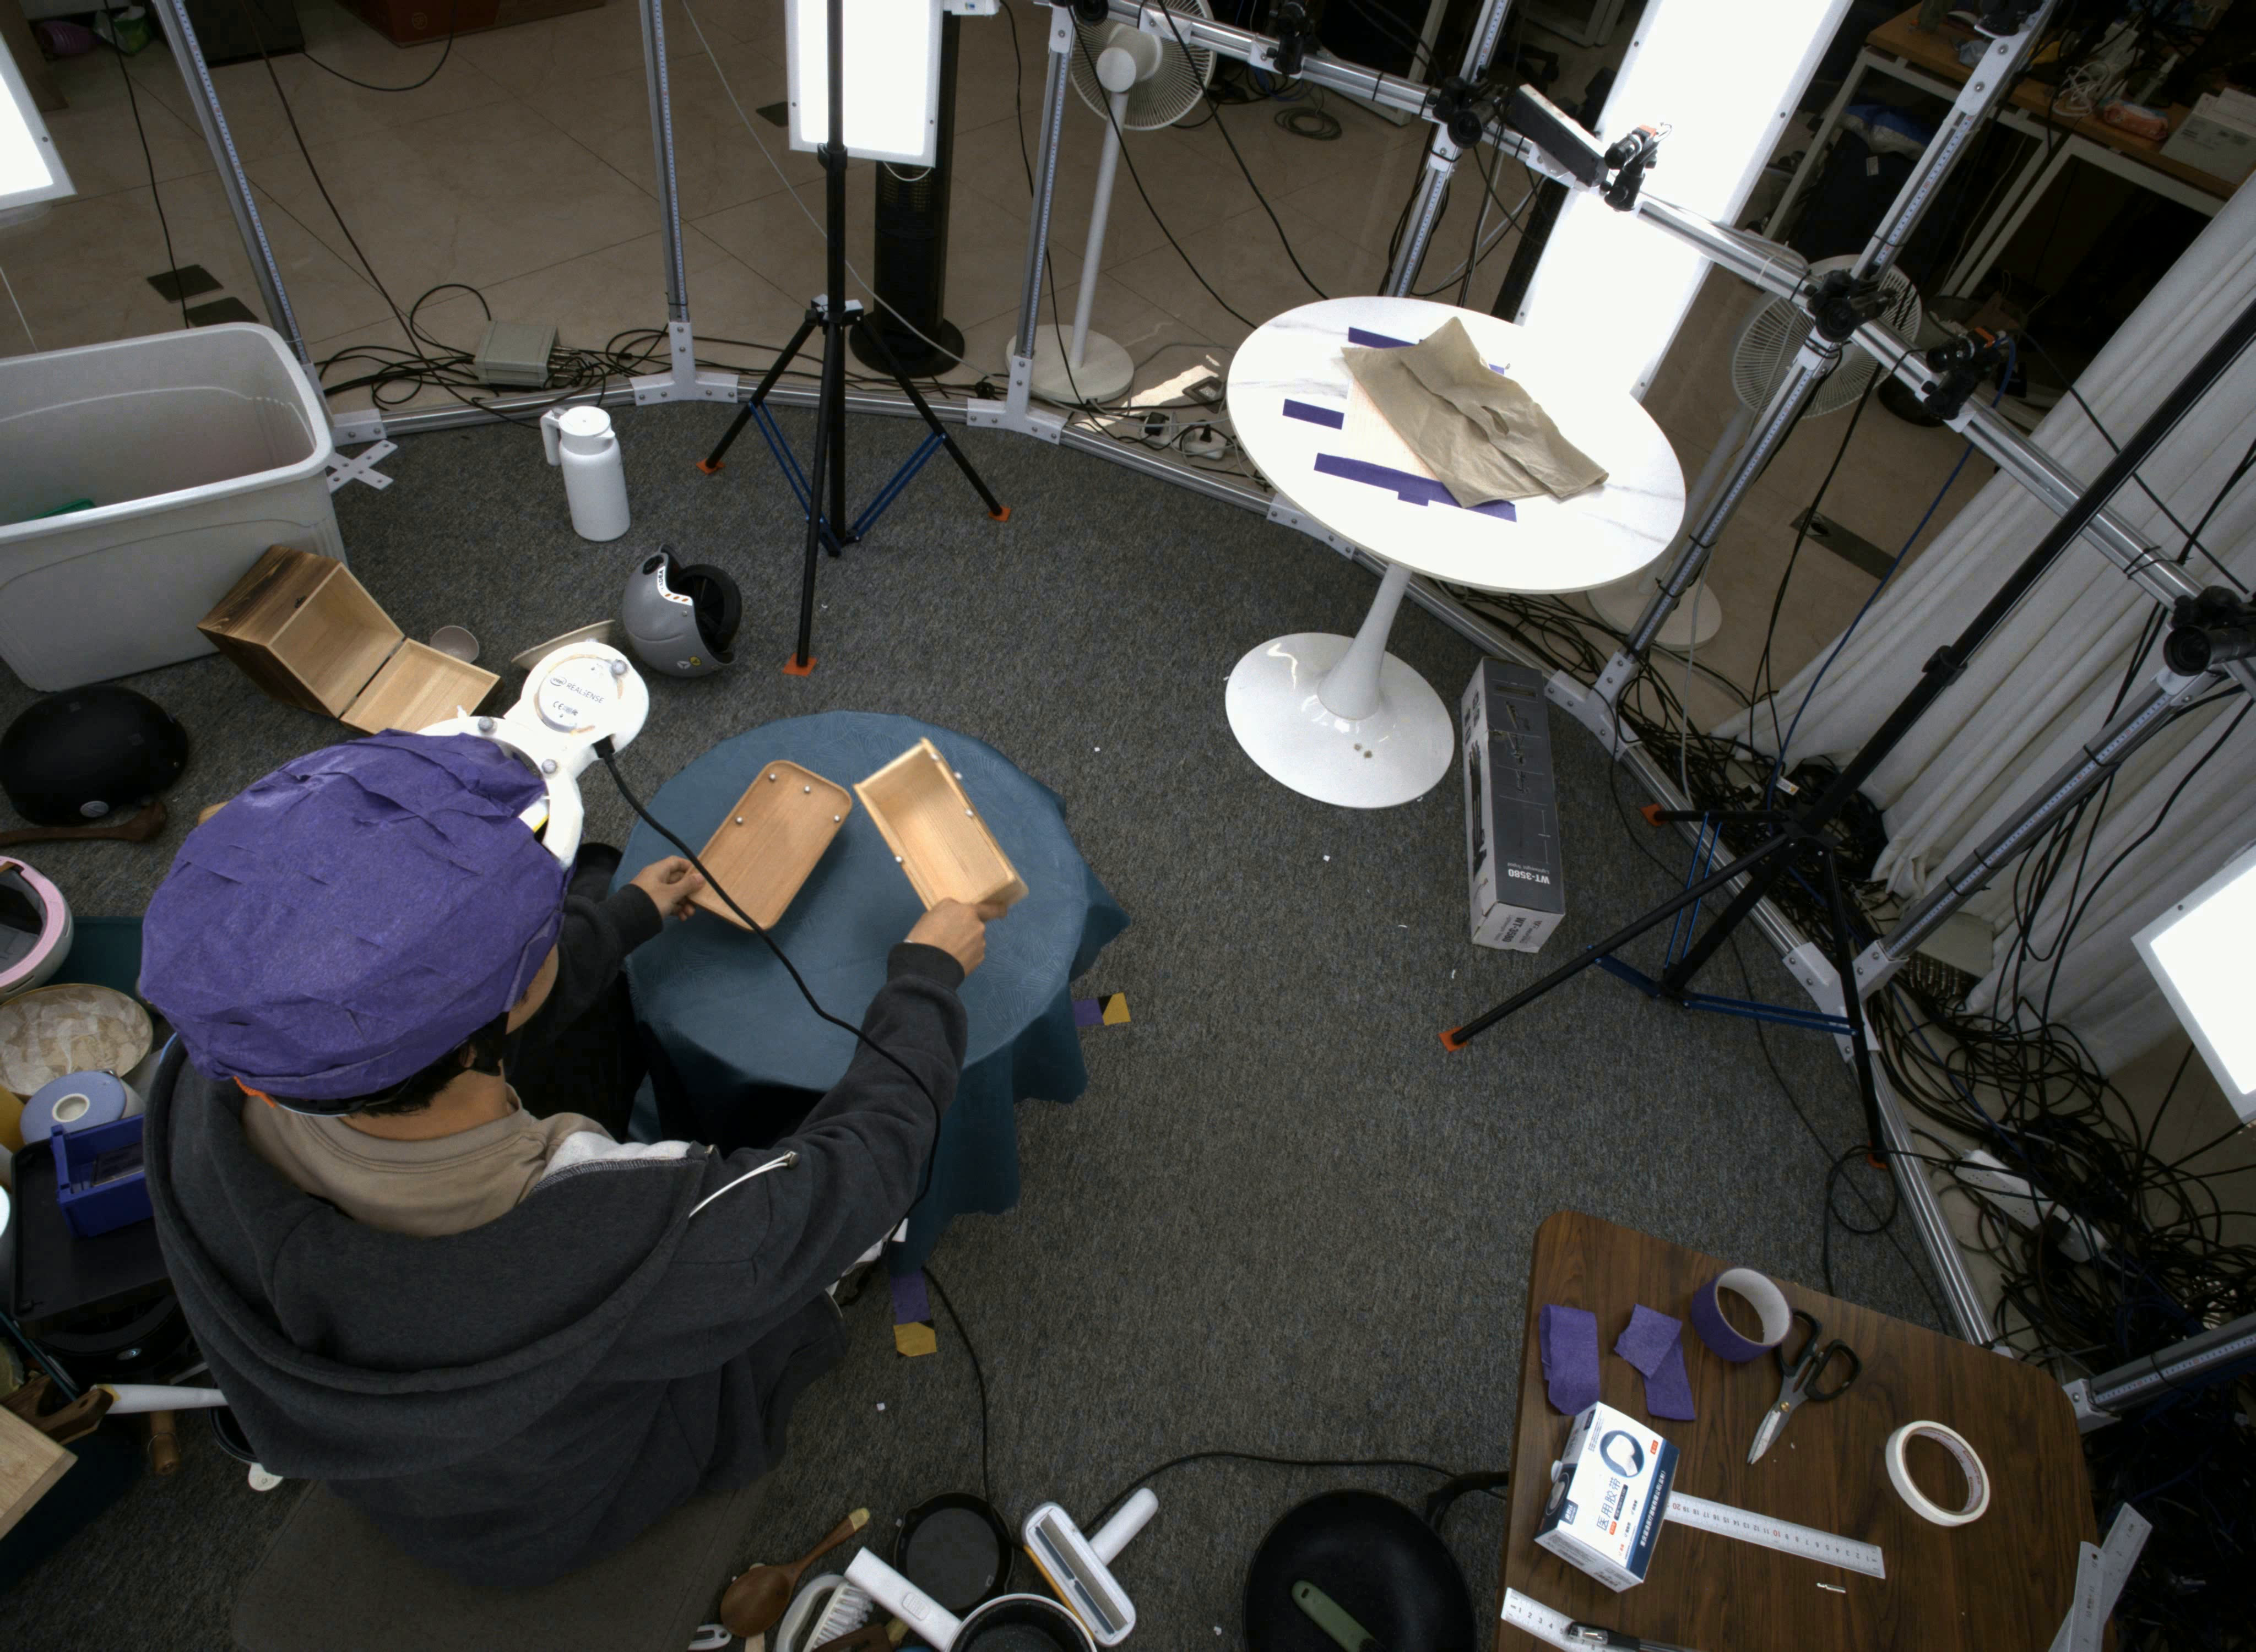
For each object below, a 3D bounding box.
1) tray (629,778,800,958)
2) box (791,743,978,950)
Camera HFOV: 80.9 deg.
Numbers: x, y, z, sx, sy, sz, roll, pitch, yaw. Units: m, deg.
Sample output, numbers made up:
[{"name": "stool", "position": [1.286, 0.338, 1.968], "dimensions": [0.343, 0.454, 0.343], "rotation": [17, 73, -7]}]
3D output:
[{"name": "tray", "position": [-0.509, 0.047, 1.596], "dimensions": [0.130, 0.023, 0.248], "rotation": [24, 51, -3]}, {"name": "box", "position": [-0.284, 0.024, 1.521], "dimensions": [0.107, 0.081, 0.208], "rotation": [-38, 77, -2]}]
